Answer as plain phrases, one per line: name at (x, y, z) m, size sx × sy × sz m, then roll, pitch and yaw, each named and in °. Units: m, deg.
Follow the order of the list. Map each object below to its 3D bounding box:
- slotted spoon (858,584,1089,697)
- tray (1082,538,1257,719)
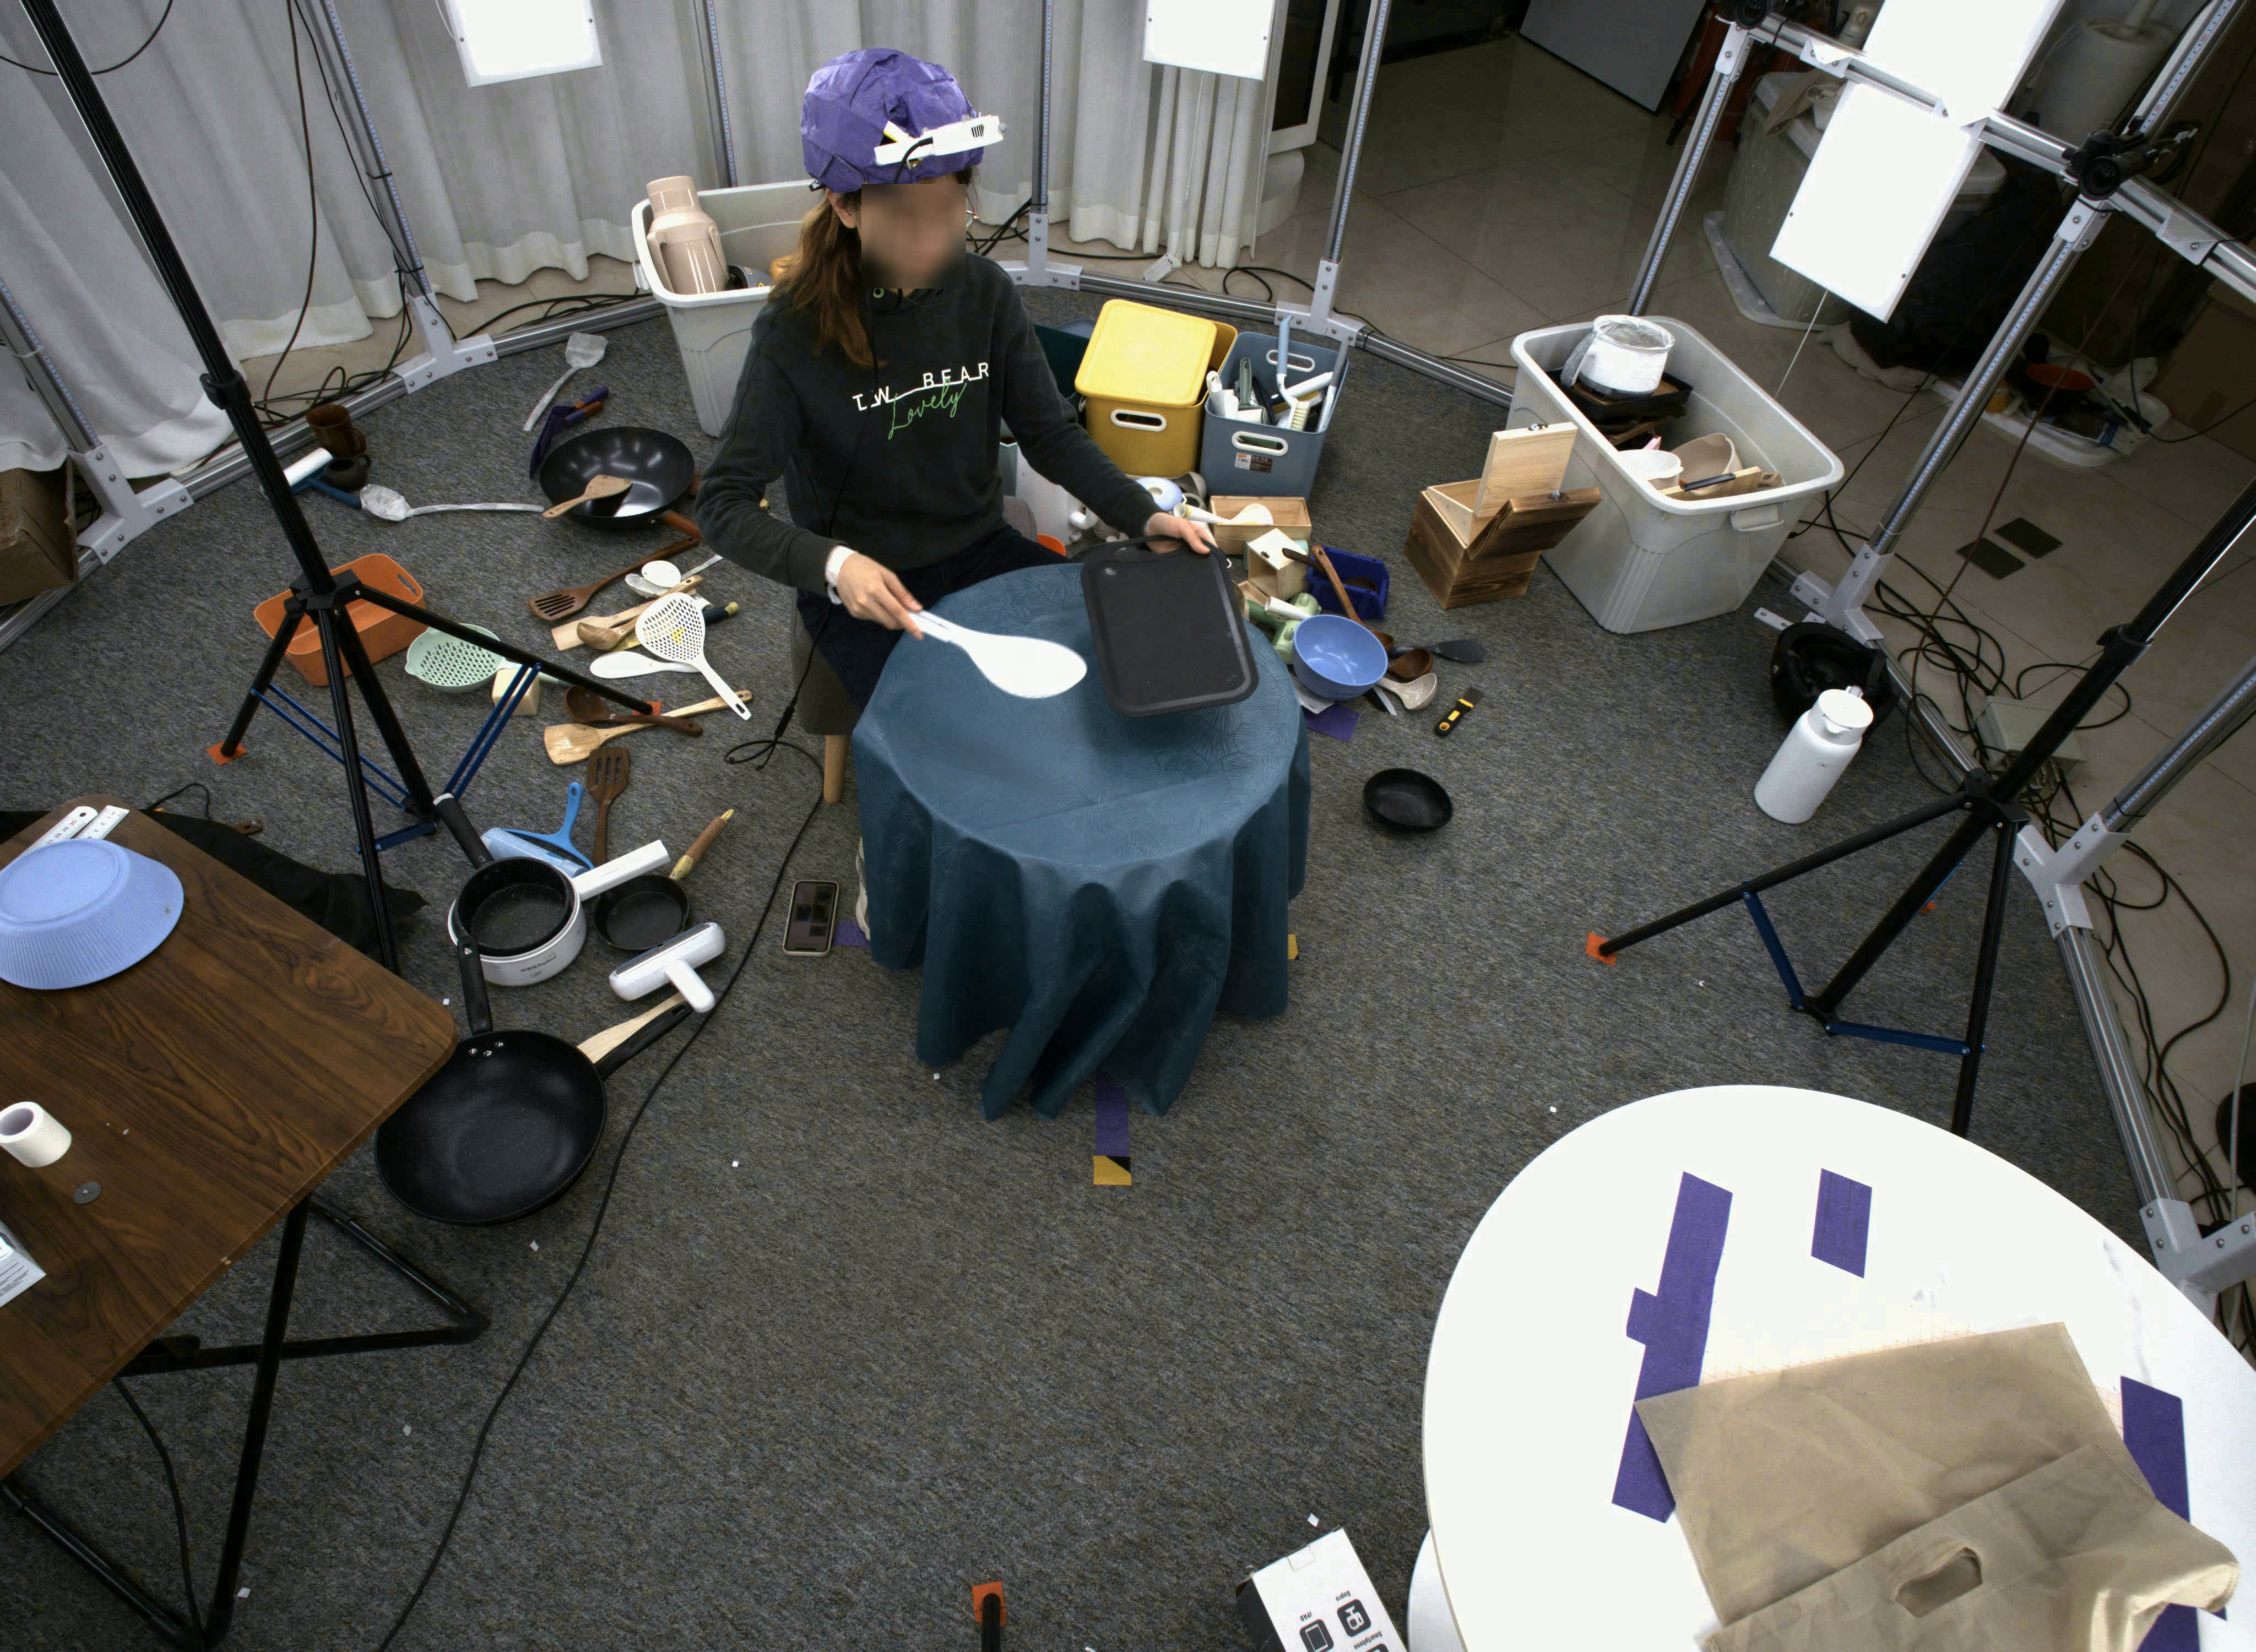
slotted spoon at (-0.206, -0.240, 1.631) m, size 0.354 × 0.045 × 0.137 m, roll 30°, pitch 38°, yaw 22°
tray at (0.052, -0.286, 1.803) m, size 0.211 × 0.009 × 0.333 m, roll -9°, pitch 56°, yaw -3°
